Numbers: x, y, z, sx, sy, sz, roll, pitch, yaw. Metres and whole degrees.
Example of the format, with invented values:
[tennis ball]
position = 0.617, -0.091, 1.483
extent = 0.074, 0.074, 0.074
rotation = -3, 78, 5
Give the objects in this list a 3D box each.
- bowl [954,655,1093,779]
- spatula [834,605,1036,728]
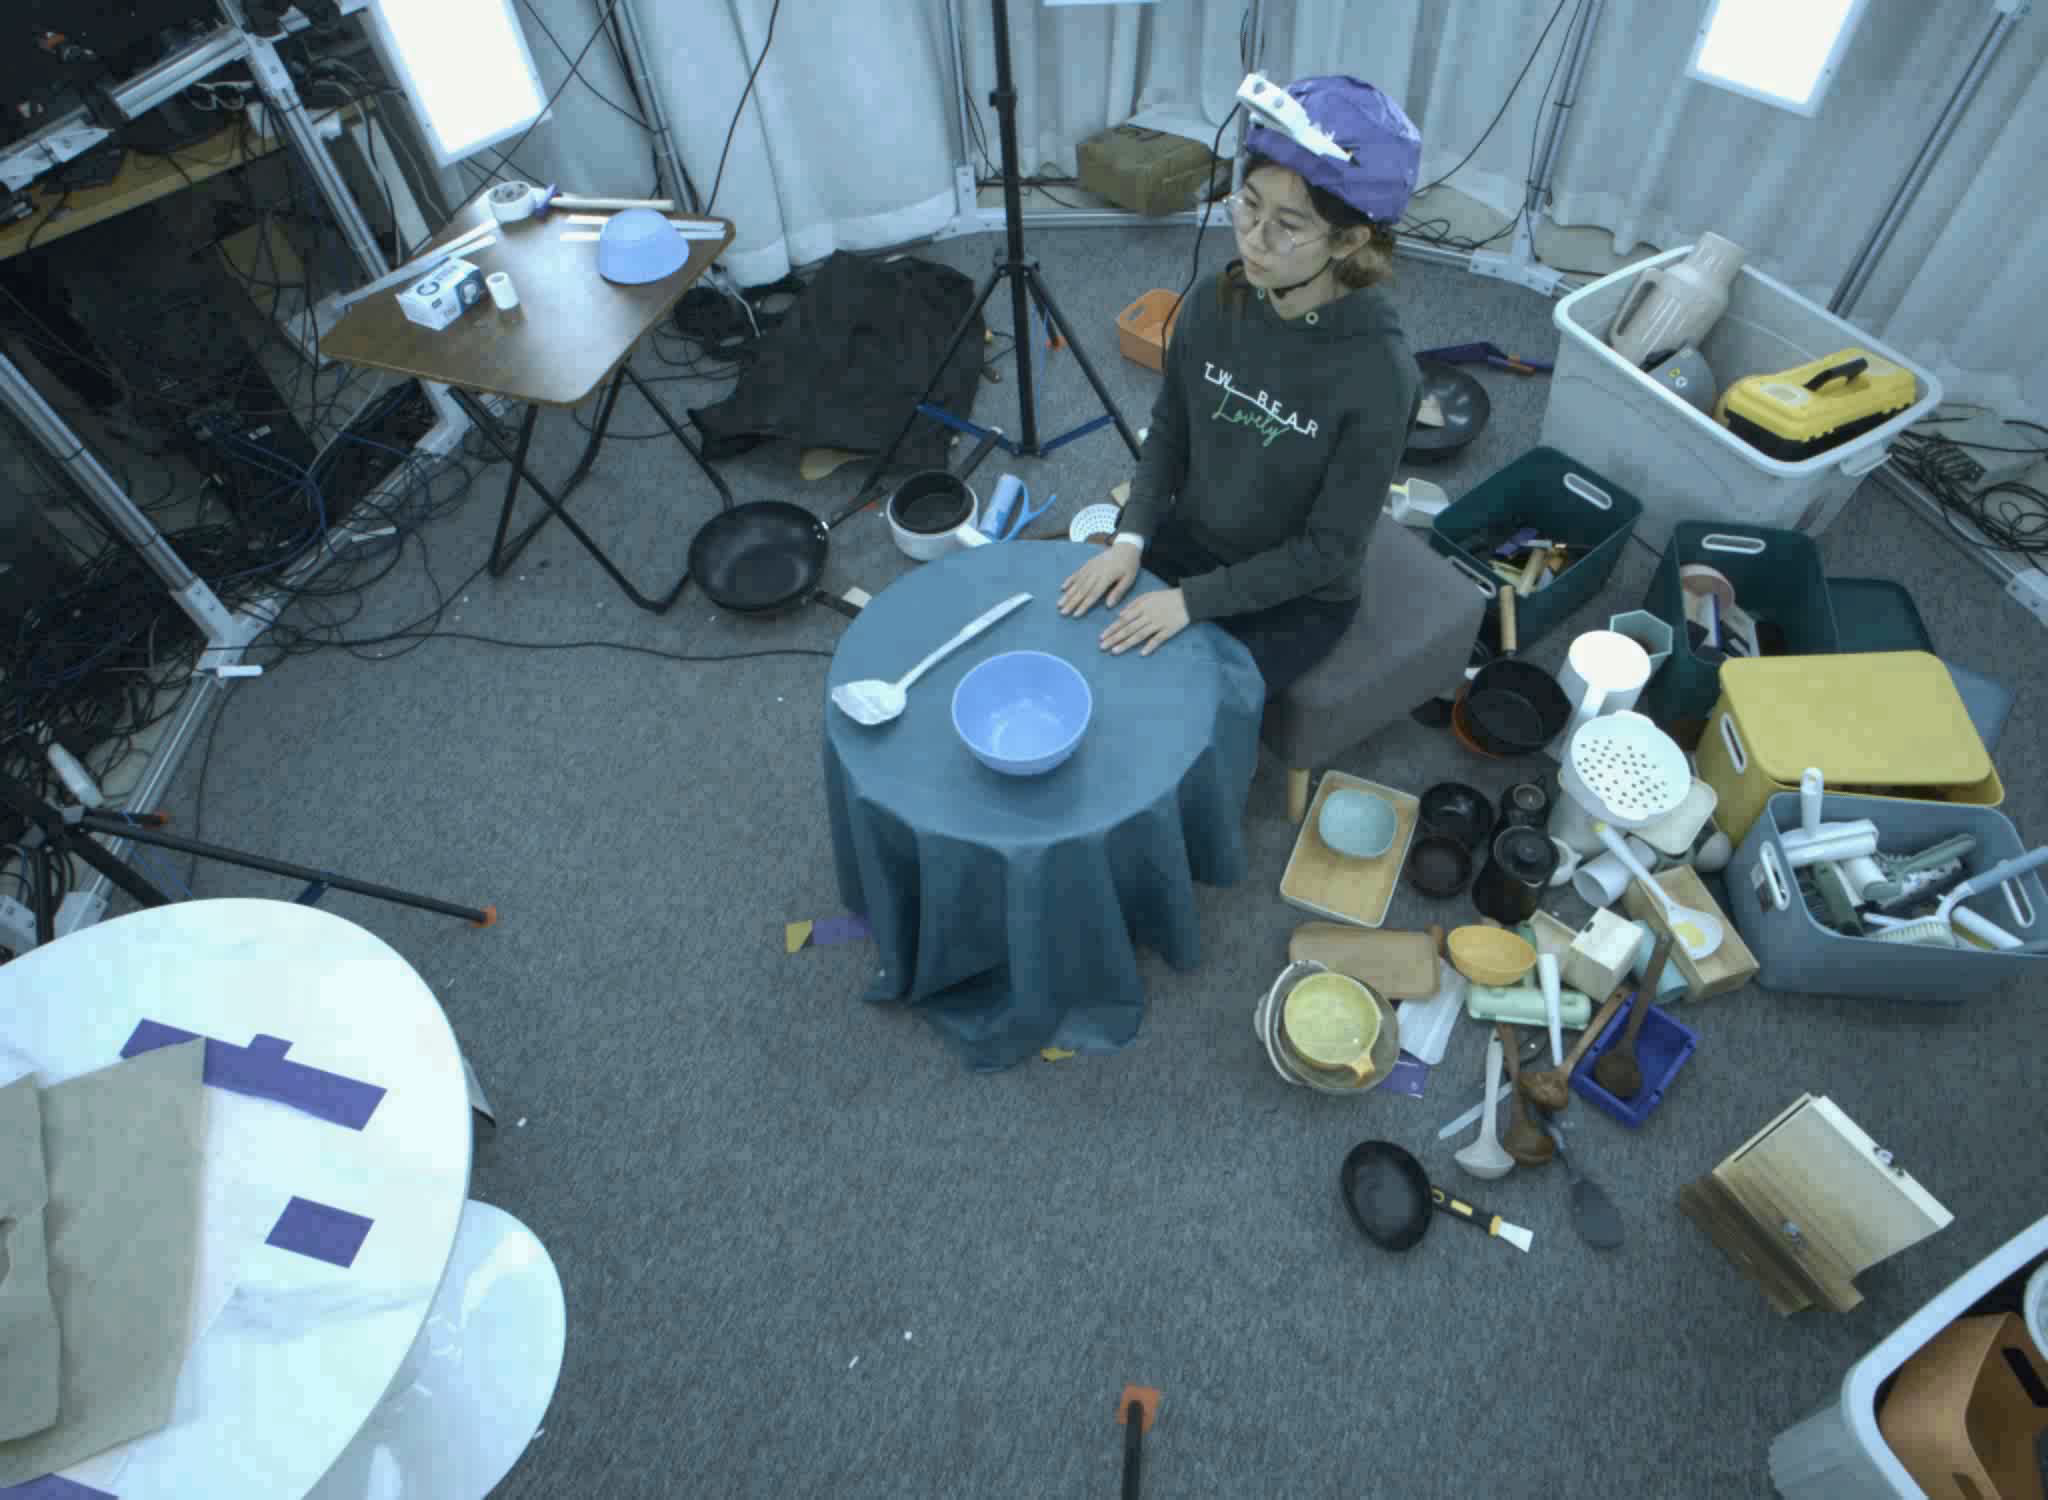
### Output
[bowl]
position = 0.003, -0.032, 1.761
extent = 0.196, 0.096, 0.194
rotation = -1, 56, 3
[spatula]
position = -0.126, -0.143, 1.878
extent = 0.367, 0.045, 0.097
rotation = -37, 60, -22
